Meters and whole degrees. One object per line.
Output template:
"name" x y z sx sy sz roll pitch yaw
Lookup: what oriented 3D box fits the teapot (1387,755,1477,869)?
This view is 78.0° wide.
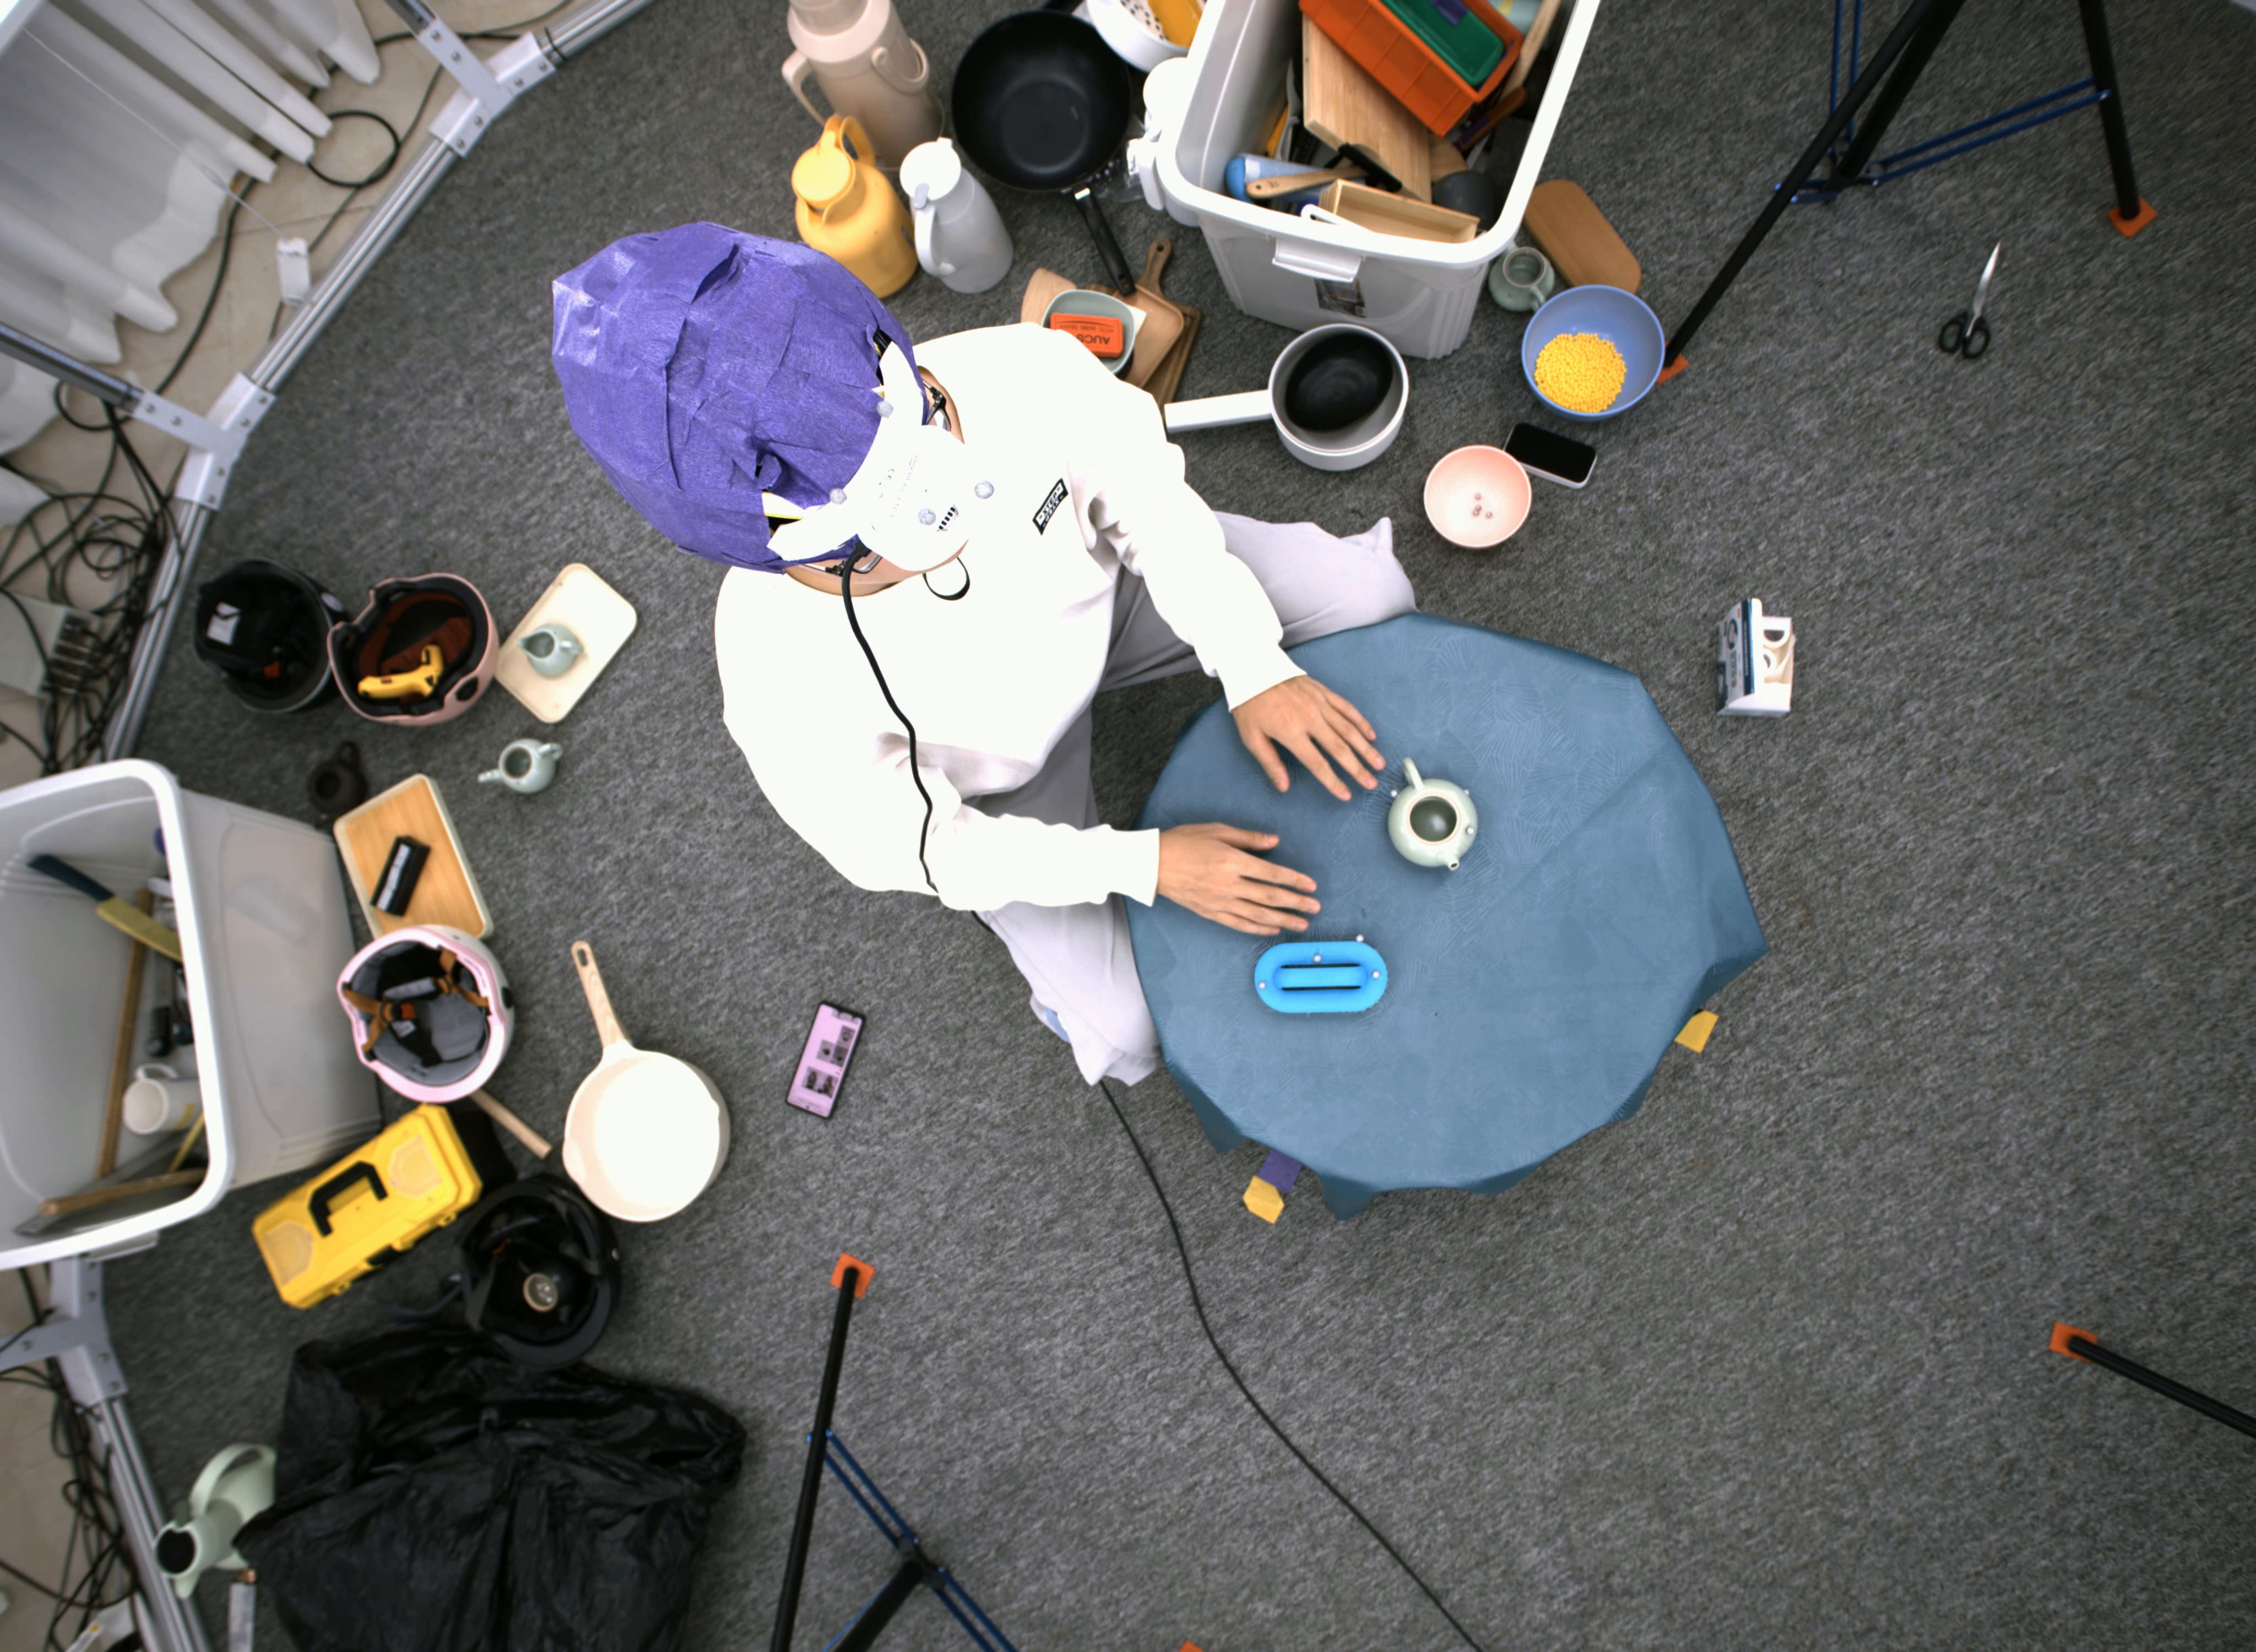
"teapot" 0.312 -0.015 1.427 0.092 0.061 0.127 -19 81 12

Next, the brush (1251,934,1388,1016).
"brush" 0.198 0.154 1.435 0.142 0.063 0.084 -1 90 11
